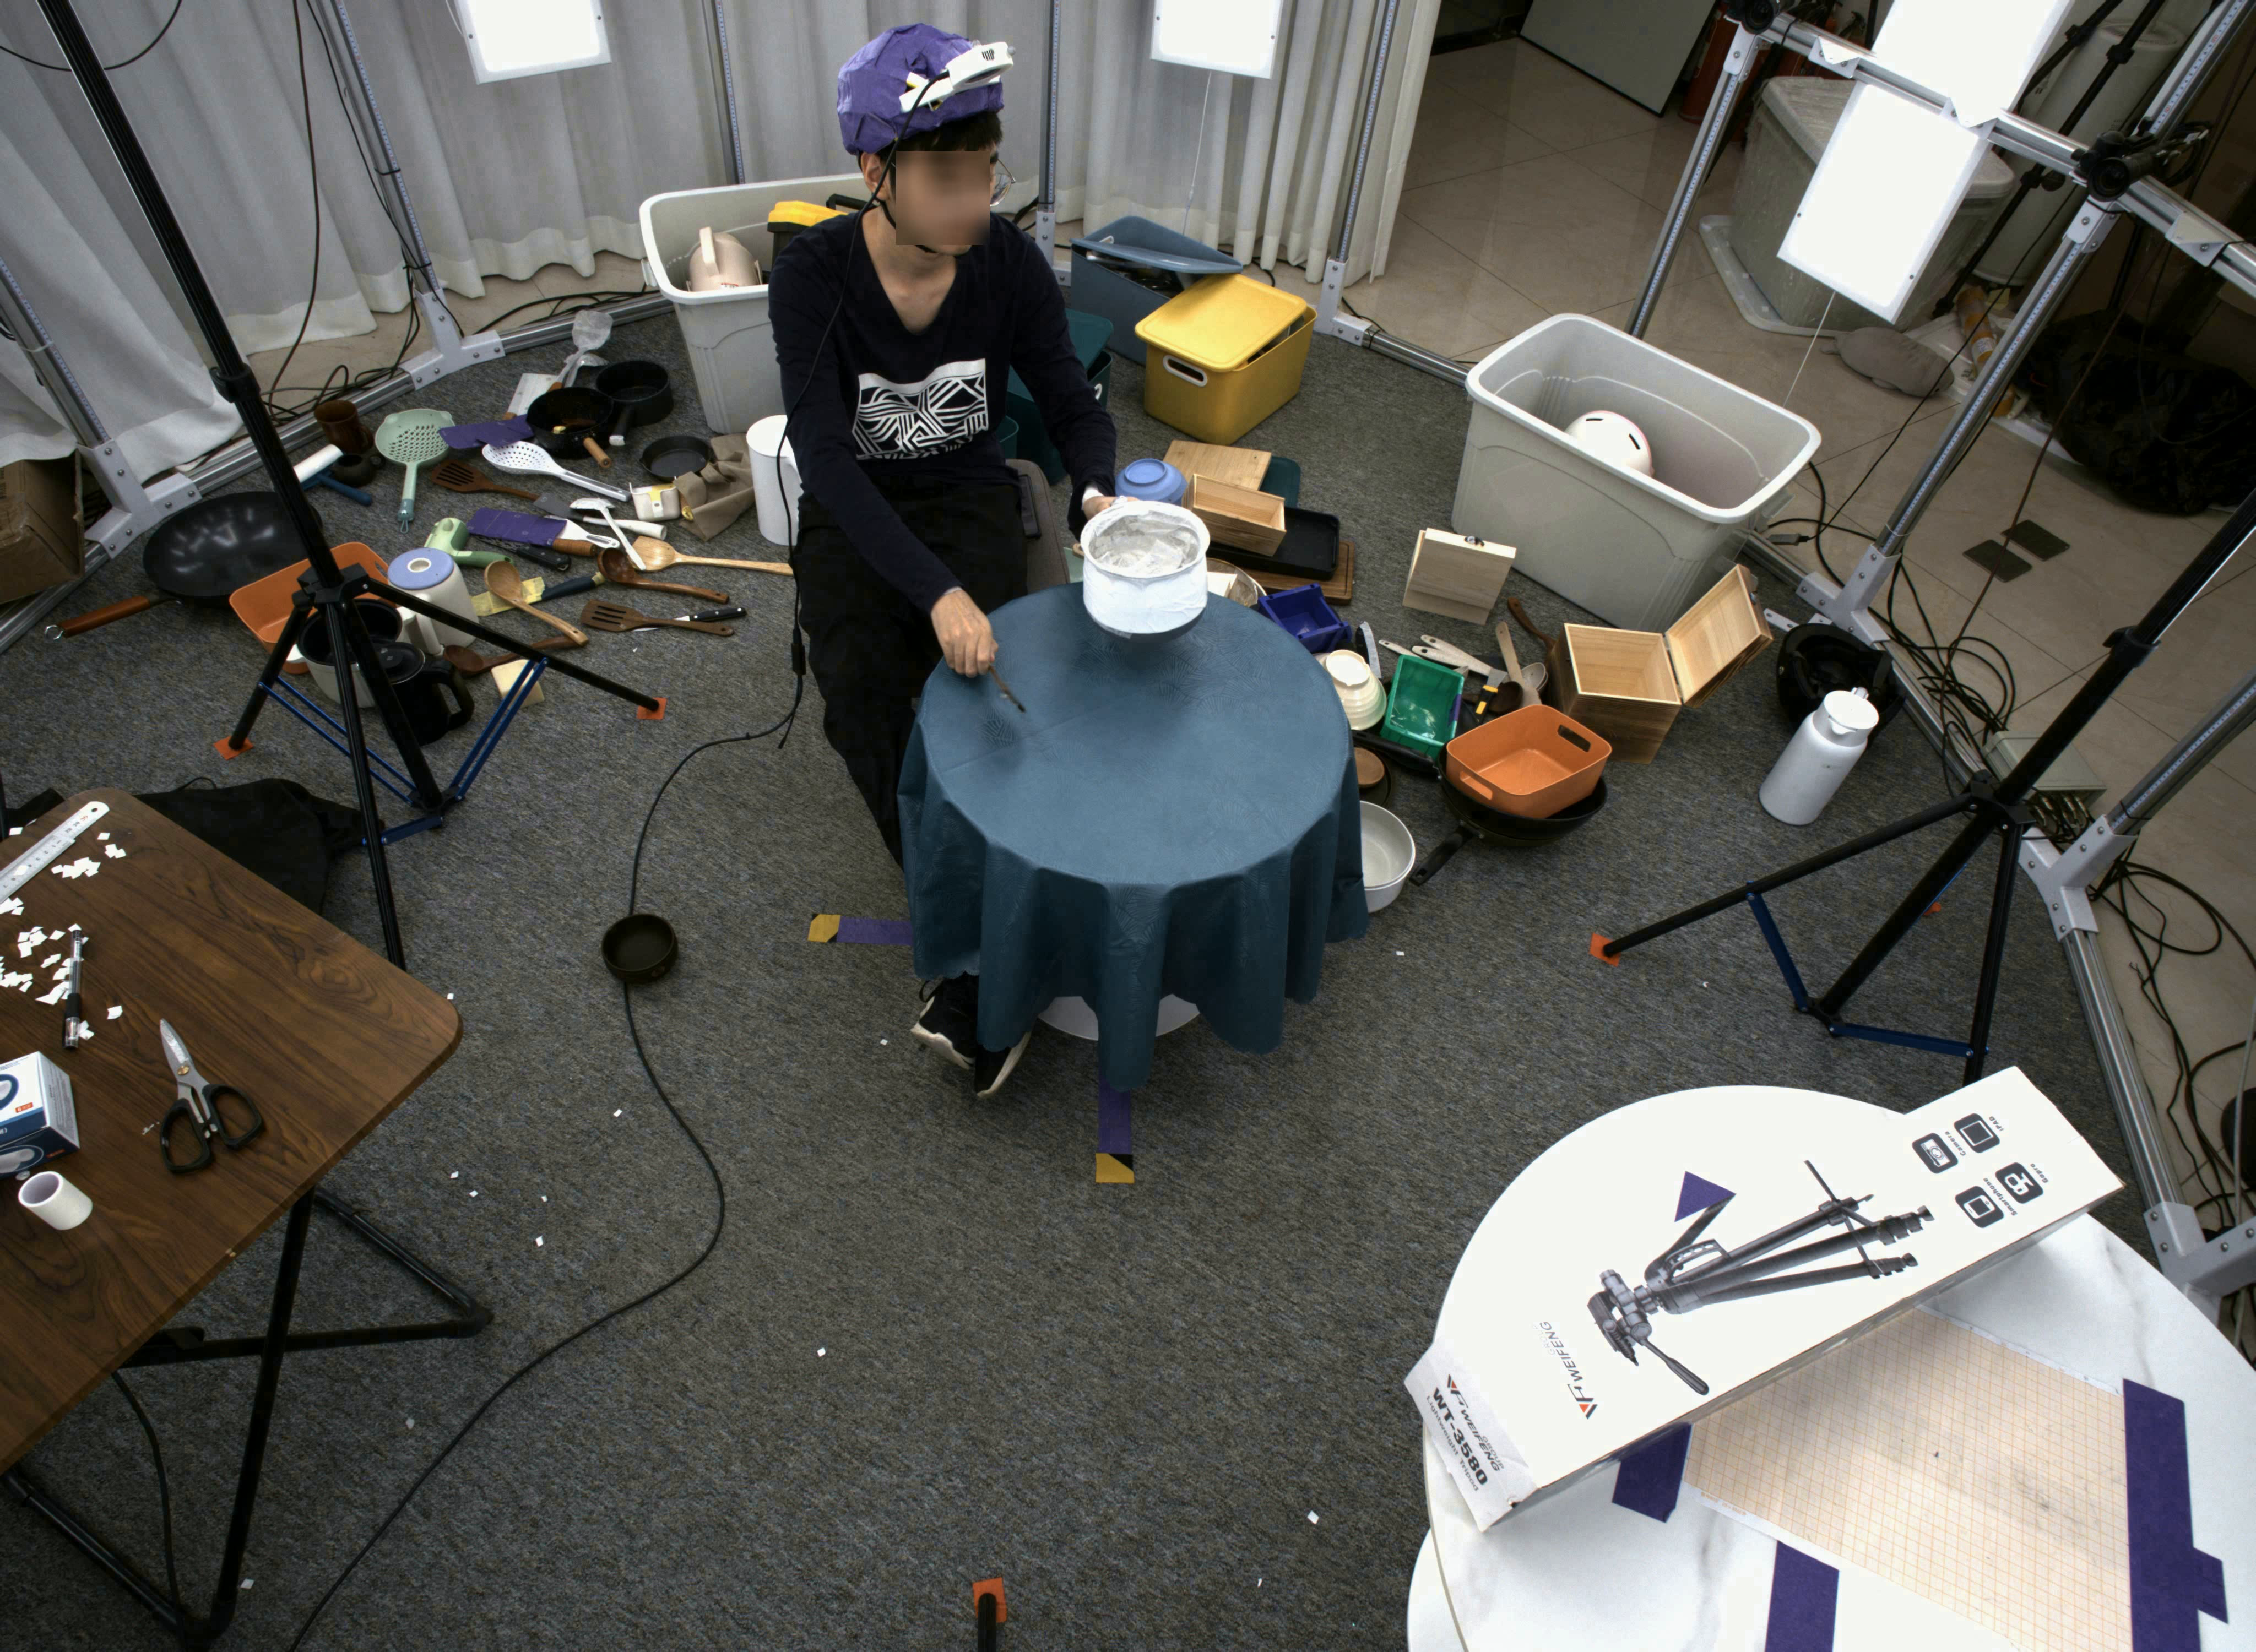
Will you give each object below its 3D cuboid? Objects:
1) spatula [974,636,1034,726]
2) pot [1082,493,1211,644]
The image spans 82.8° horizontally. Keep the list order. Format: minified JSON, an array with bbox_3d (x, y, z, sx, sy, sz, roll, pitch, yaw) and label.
[{"bbox_3d":[-0.176,-0.211,1.783,0.009,0.070,0.220,-25,42,-11],"label":"spatula"},{"bbox_3d":[0.015,-0.373,1.823,0.179,0.133,0.239,-15,49,-15],"label":"pot"}]
